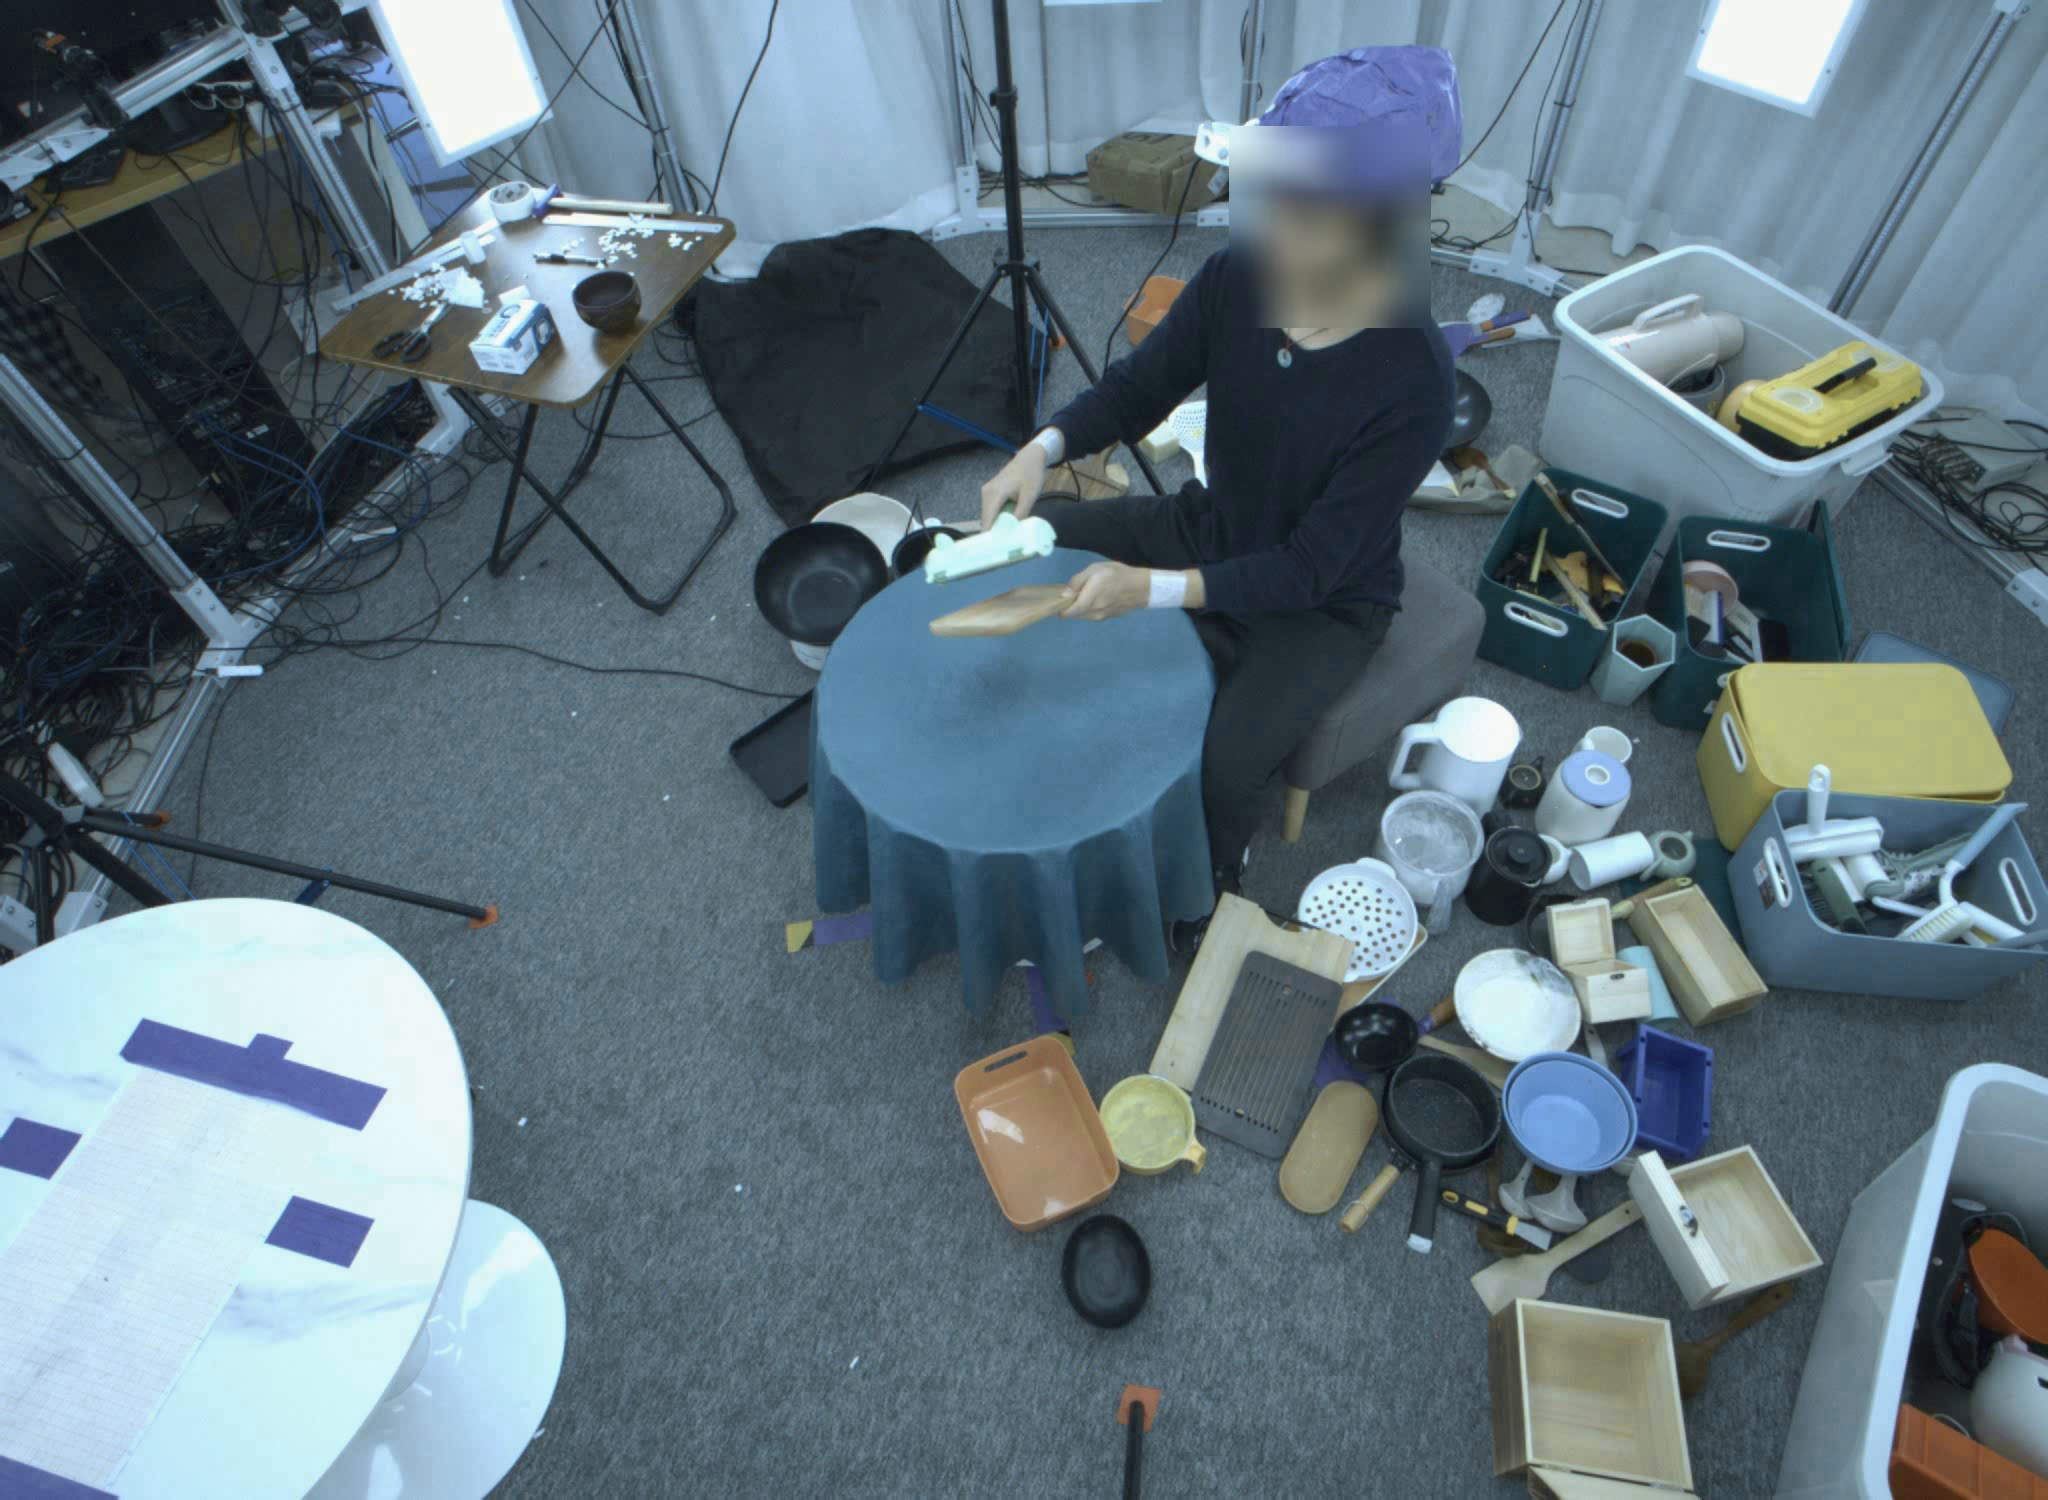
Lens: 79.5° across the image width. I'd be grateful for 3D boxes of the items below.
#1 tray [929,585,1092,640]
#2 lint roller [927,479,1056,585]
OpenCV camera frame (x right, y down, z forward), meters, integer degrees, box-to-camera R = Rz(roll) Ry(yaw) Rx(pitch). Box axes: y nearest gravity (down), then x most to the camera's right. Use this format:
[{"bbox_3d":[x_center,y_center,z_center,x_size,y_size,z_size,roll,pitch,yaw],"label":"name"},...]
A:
[{"bbox_3d":[-0.014,-0.182,1.611,0.128,0.023,0.253,6,21,30],"label":"tray"},{"bbox_3d":[-0.042,-0.322,1.697,0.195,0.084,0.182,-9,58,36],"label":"lint roller"}]
